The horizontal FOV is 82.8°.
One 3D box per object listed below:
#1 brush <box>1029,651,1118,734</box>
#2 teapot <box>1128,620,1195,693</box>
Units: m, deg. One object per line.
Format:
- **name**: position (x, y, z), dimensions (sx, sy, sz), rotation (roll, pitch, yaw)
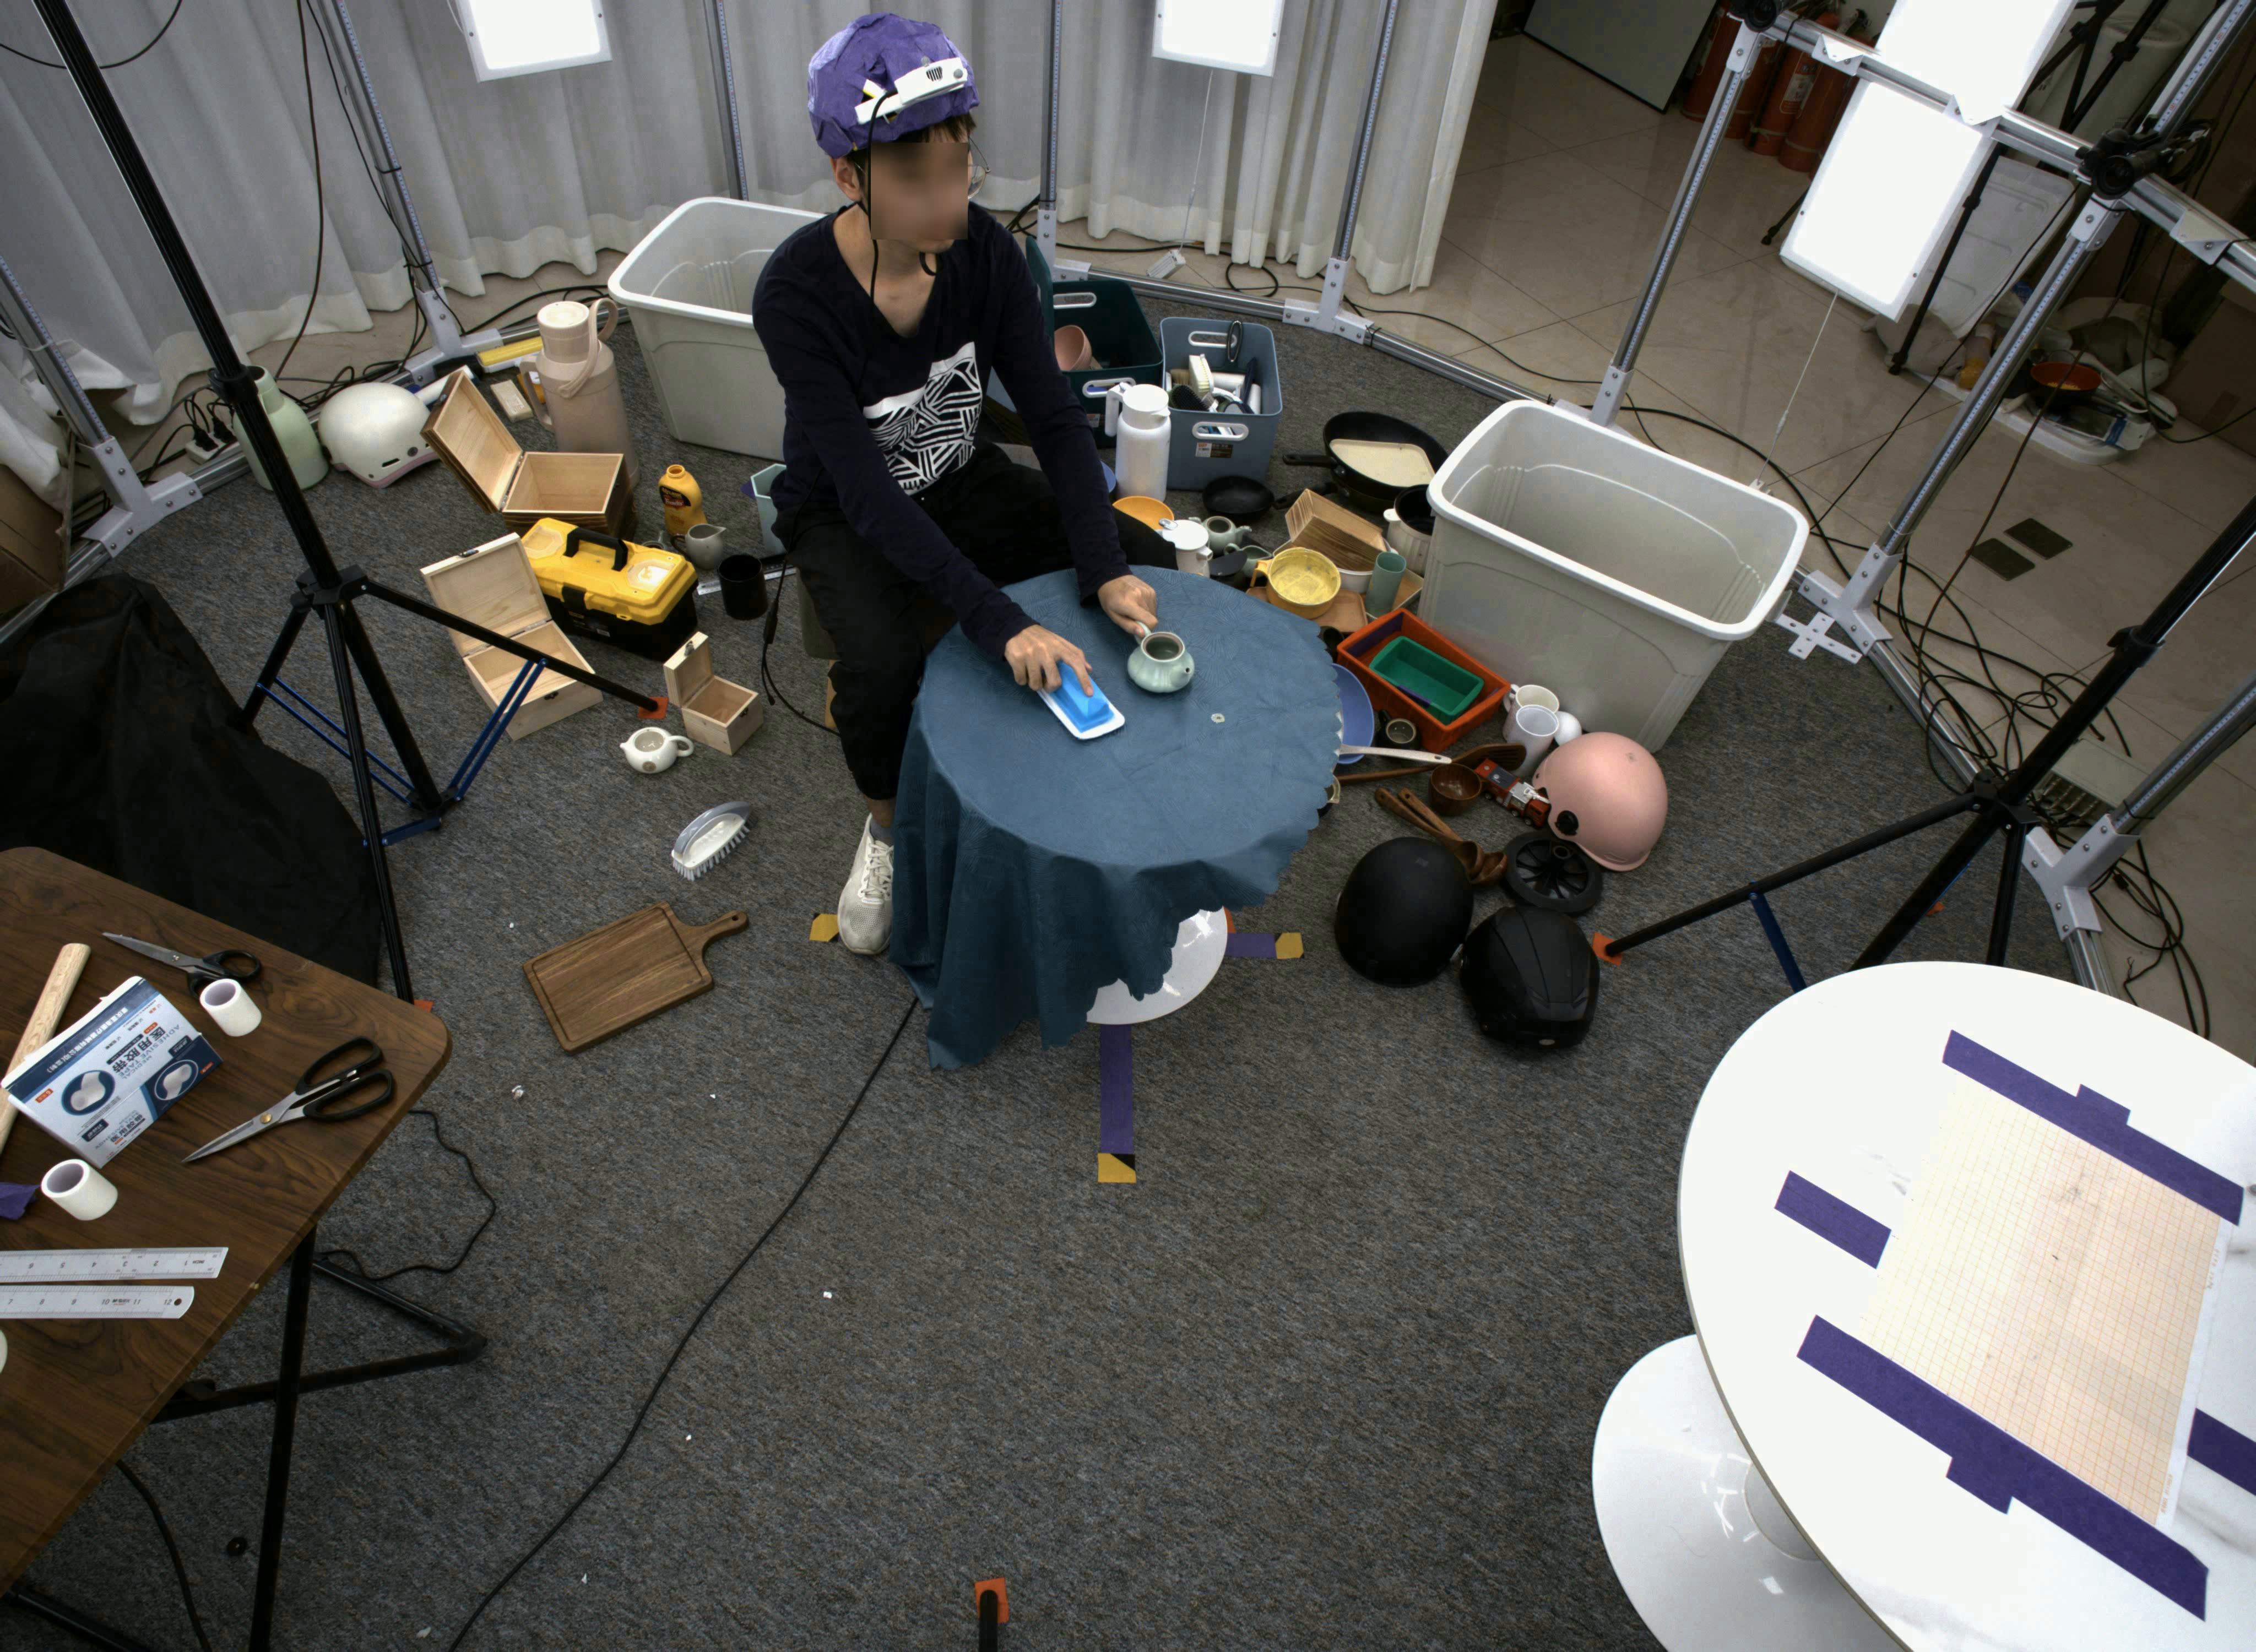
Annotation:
- **brush**: position (-0.074, -0.193, 1.791), dimensions (0.084, 0.054, 0.147), rotation (-19, 55, -24)
- **teapot**: position (0.046, -0.240, 1.841), dimensions (0.096, 0.060, 0.139), rotation (-27, 56, -22)
